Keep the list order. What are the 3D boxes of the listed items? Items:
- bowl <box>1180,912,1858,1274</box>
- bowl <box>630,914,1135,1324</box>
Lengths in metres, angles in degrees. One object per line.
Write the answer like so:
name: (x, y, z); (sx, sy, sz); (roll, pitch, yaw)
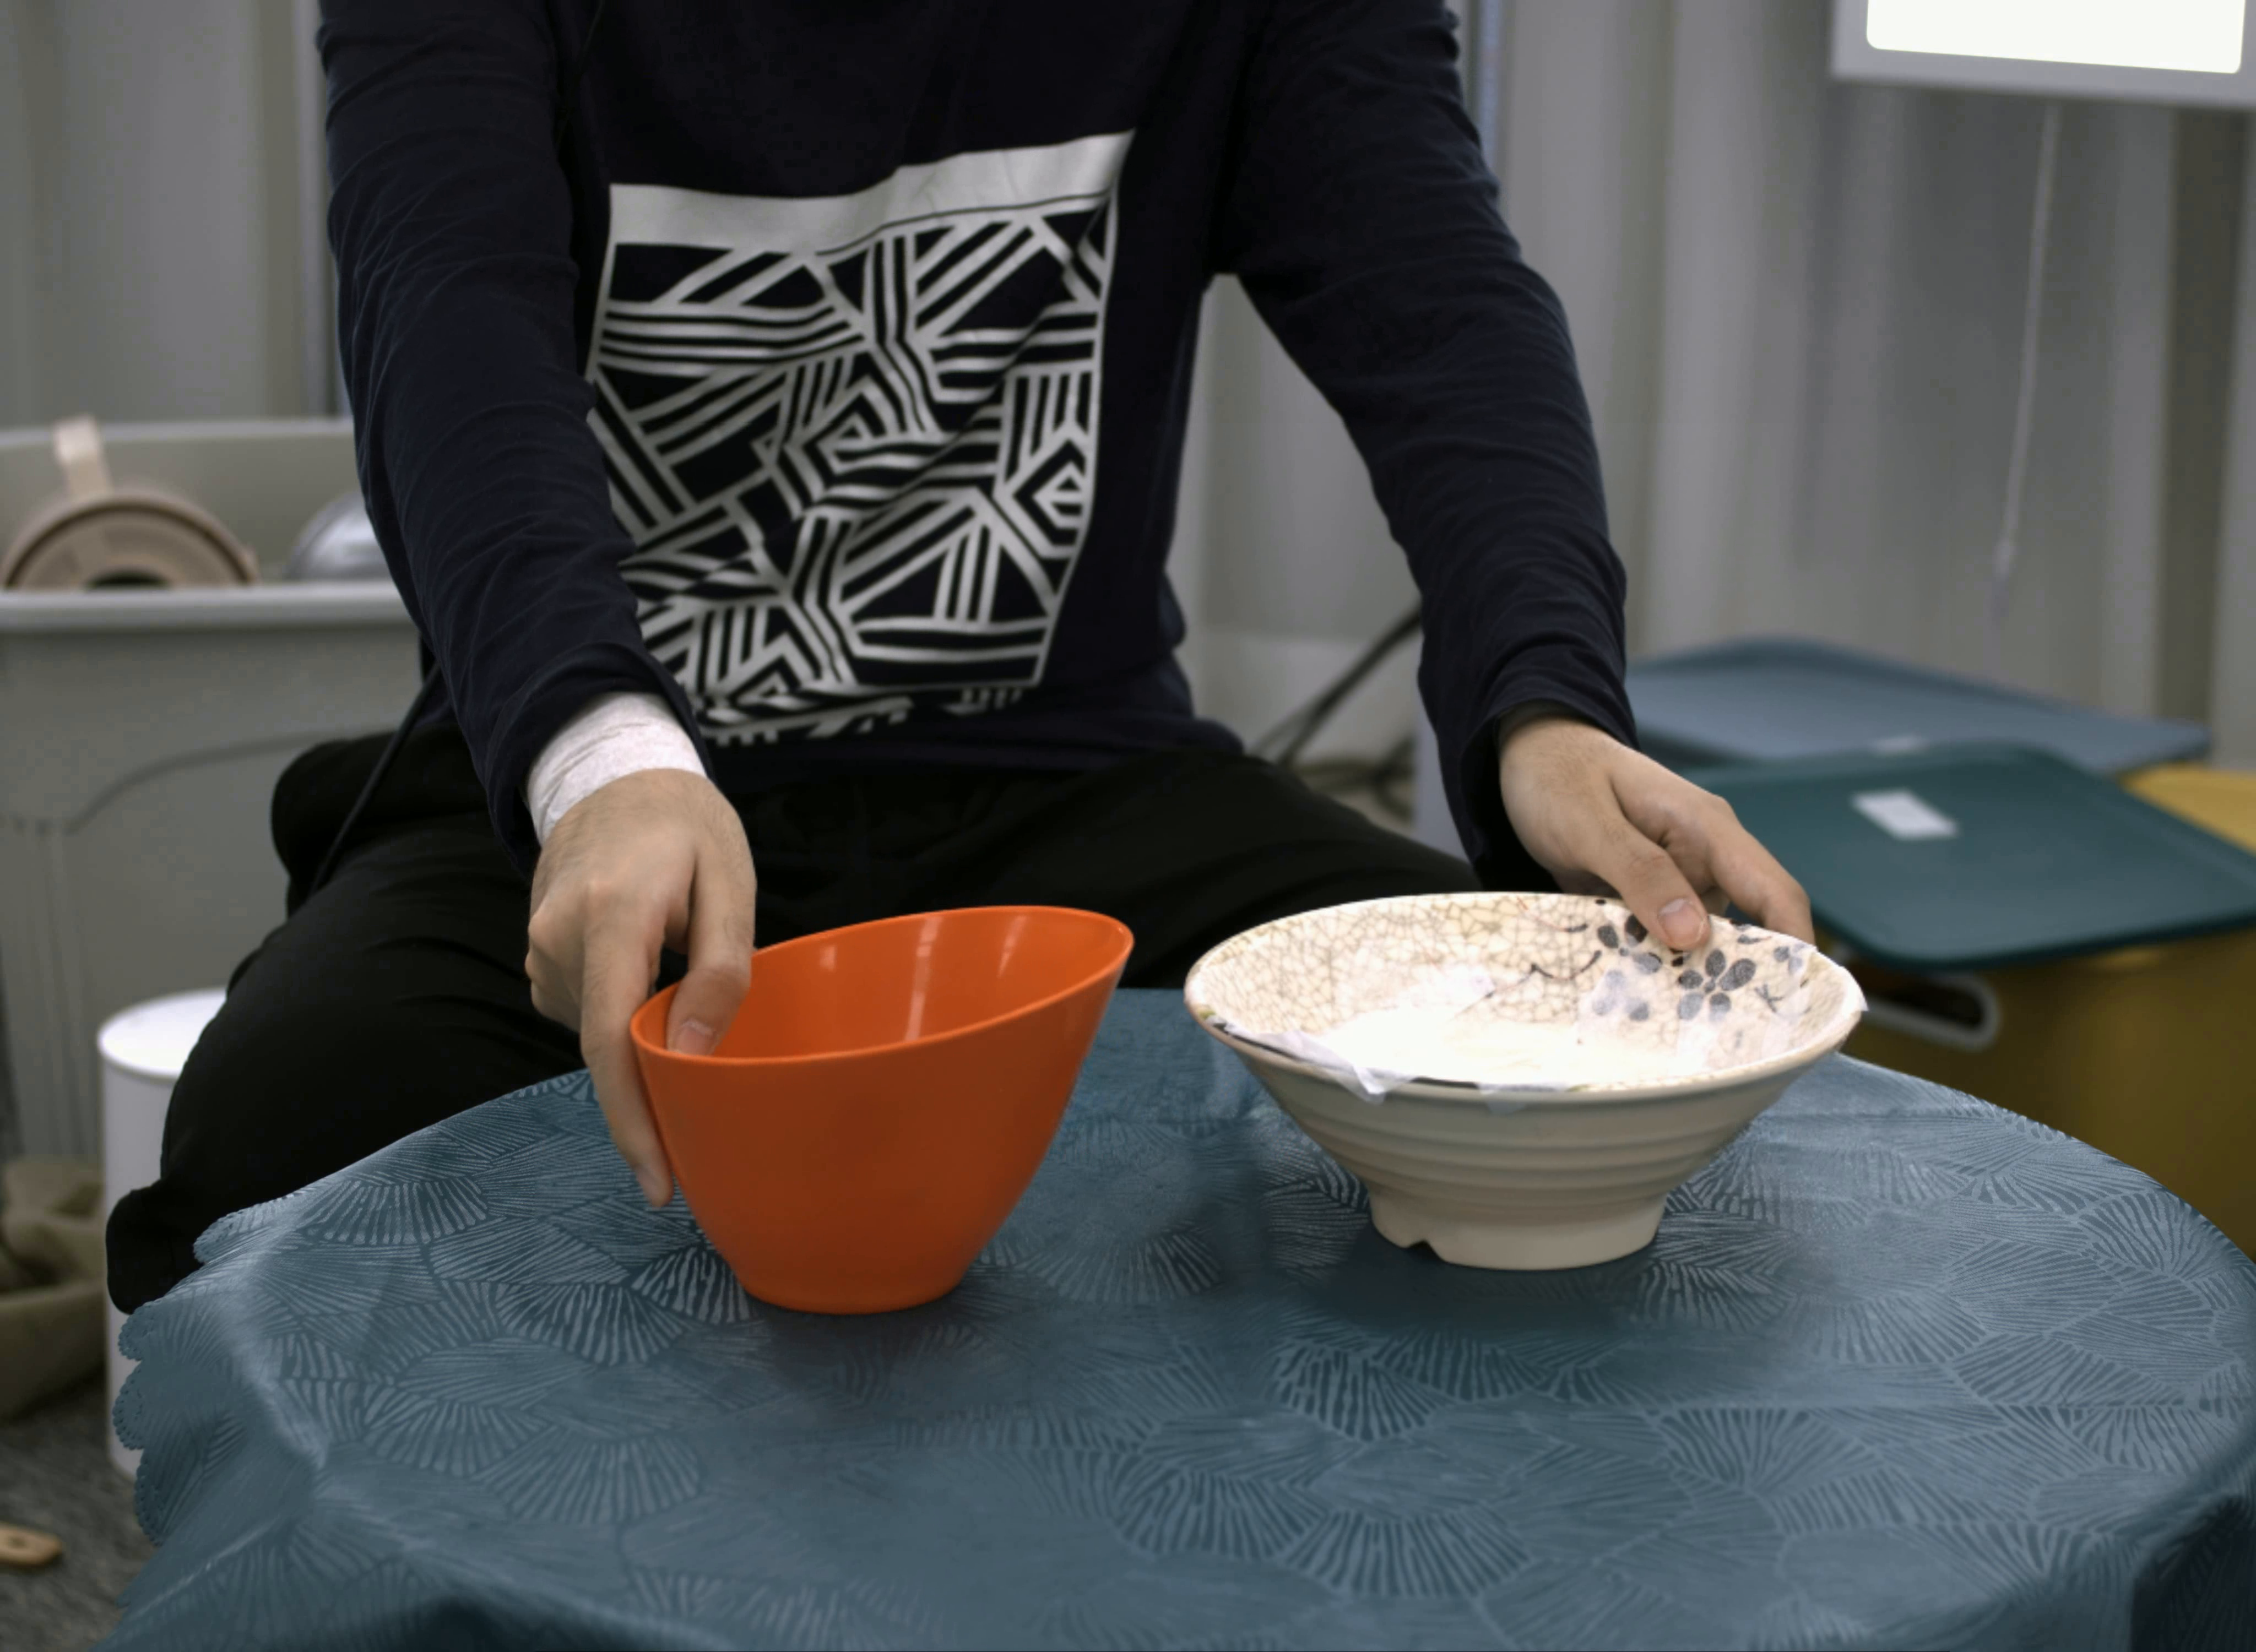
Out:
bowl: (0.116, 0.086, 1.586); (0.203, 0.078, 0.203); (2, 12, 0)
bowl: (-0.071, 0.086, 1.532); (0.147, 0.105, 0.147); (-1, 15, 1)
